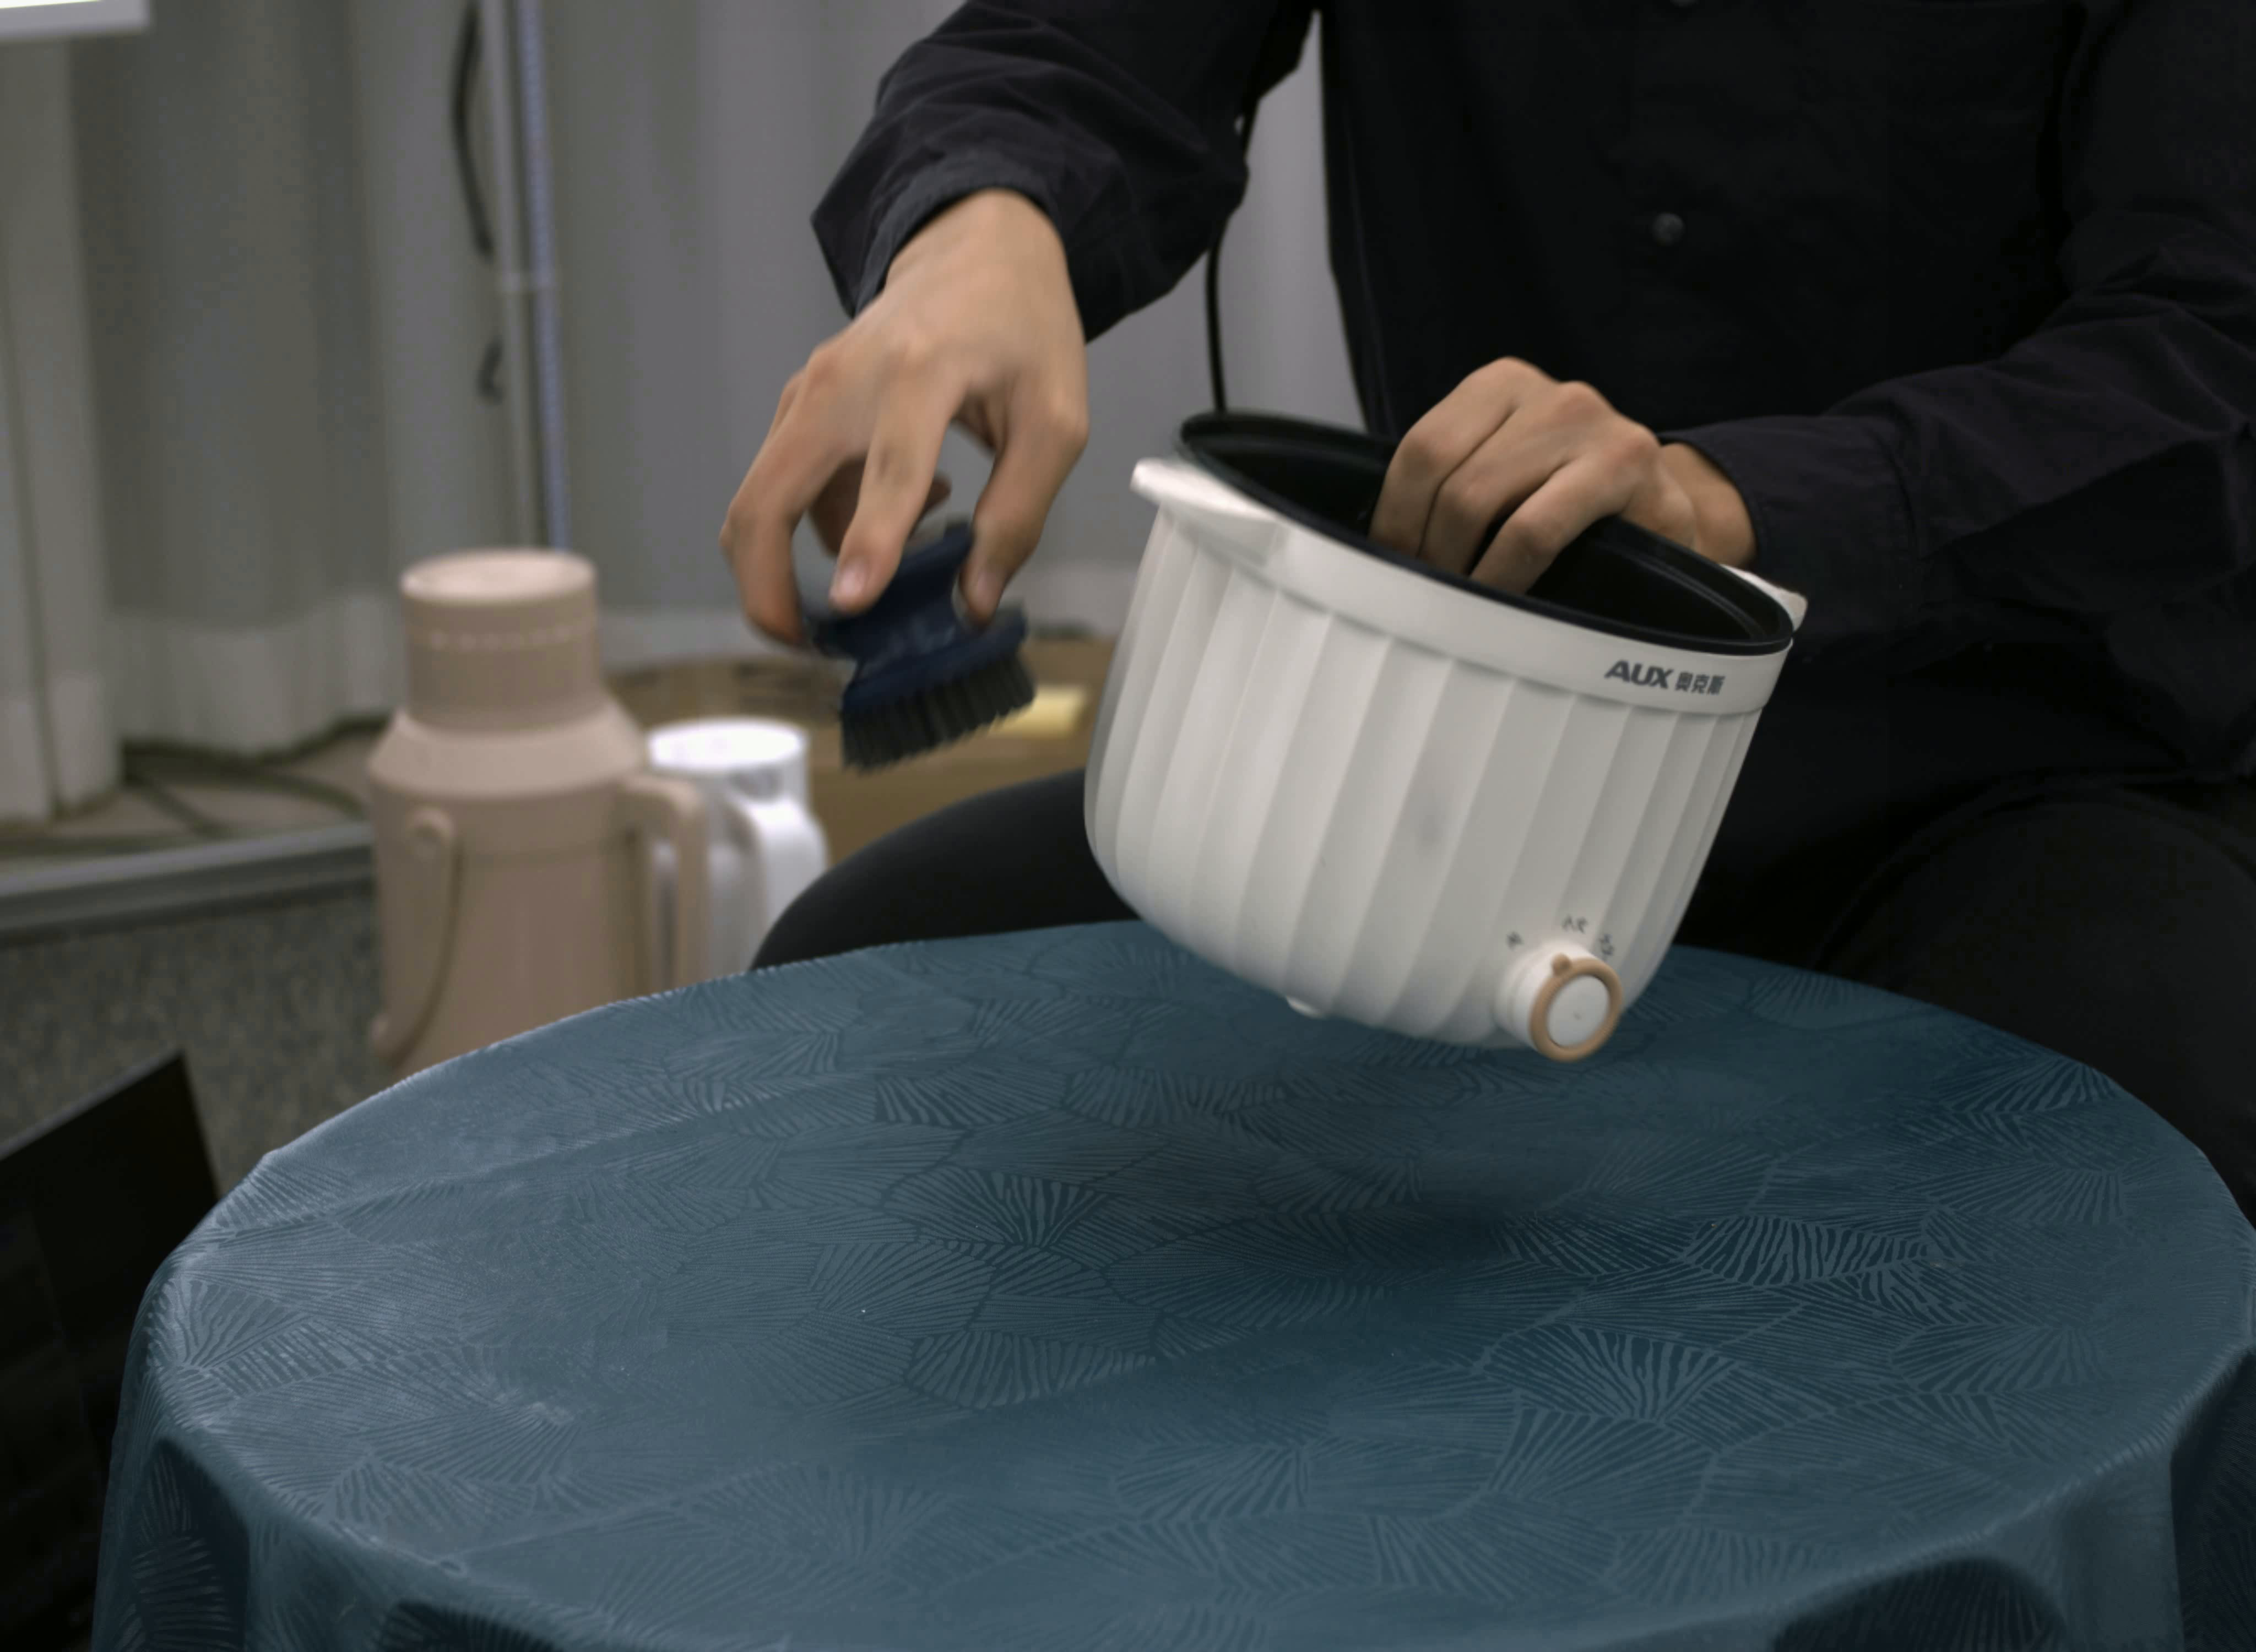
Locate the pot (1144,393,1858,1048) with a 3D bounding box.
[{"bbox_3d":[0.102,-0.025,1.506,0.234,0.143,0.195,7,16,-36],"label":"pot"}]

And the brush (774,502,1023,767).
[{"bbox_3d":[-0.064,-0.053,1.536,0.068,0.061,0.121,-23,8,5],"label":"brush"}]
